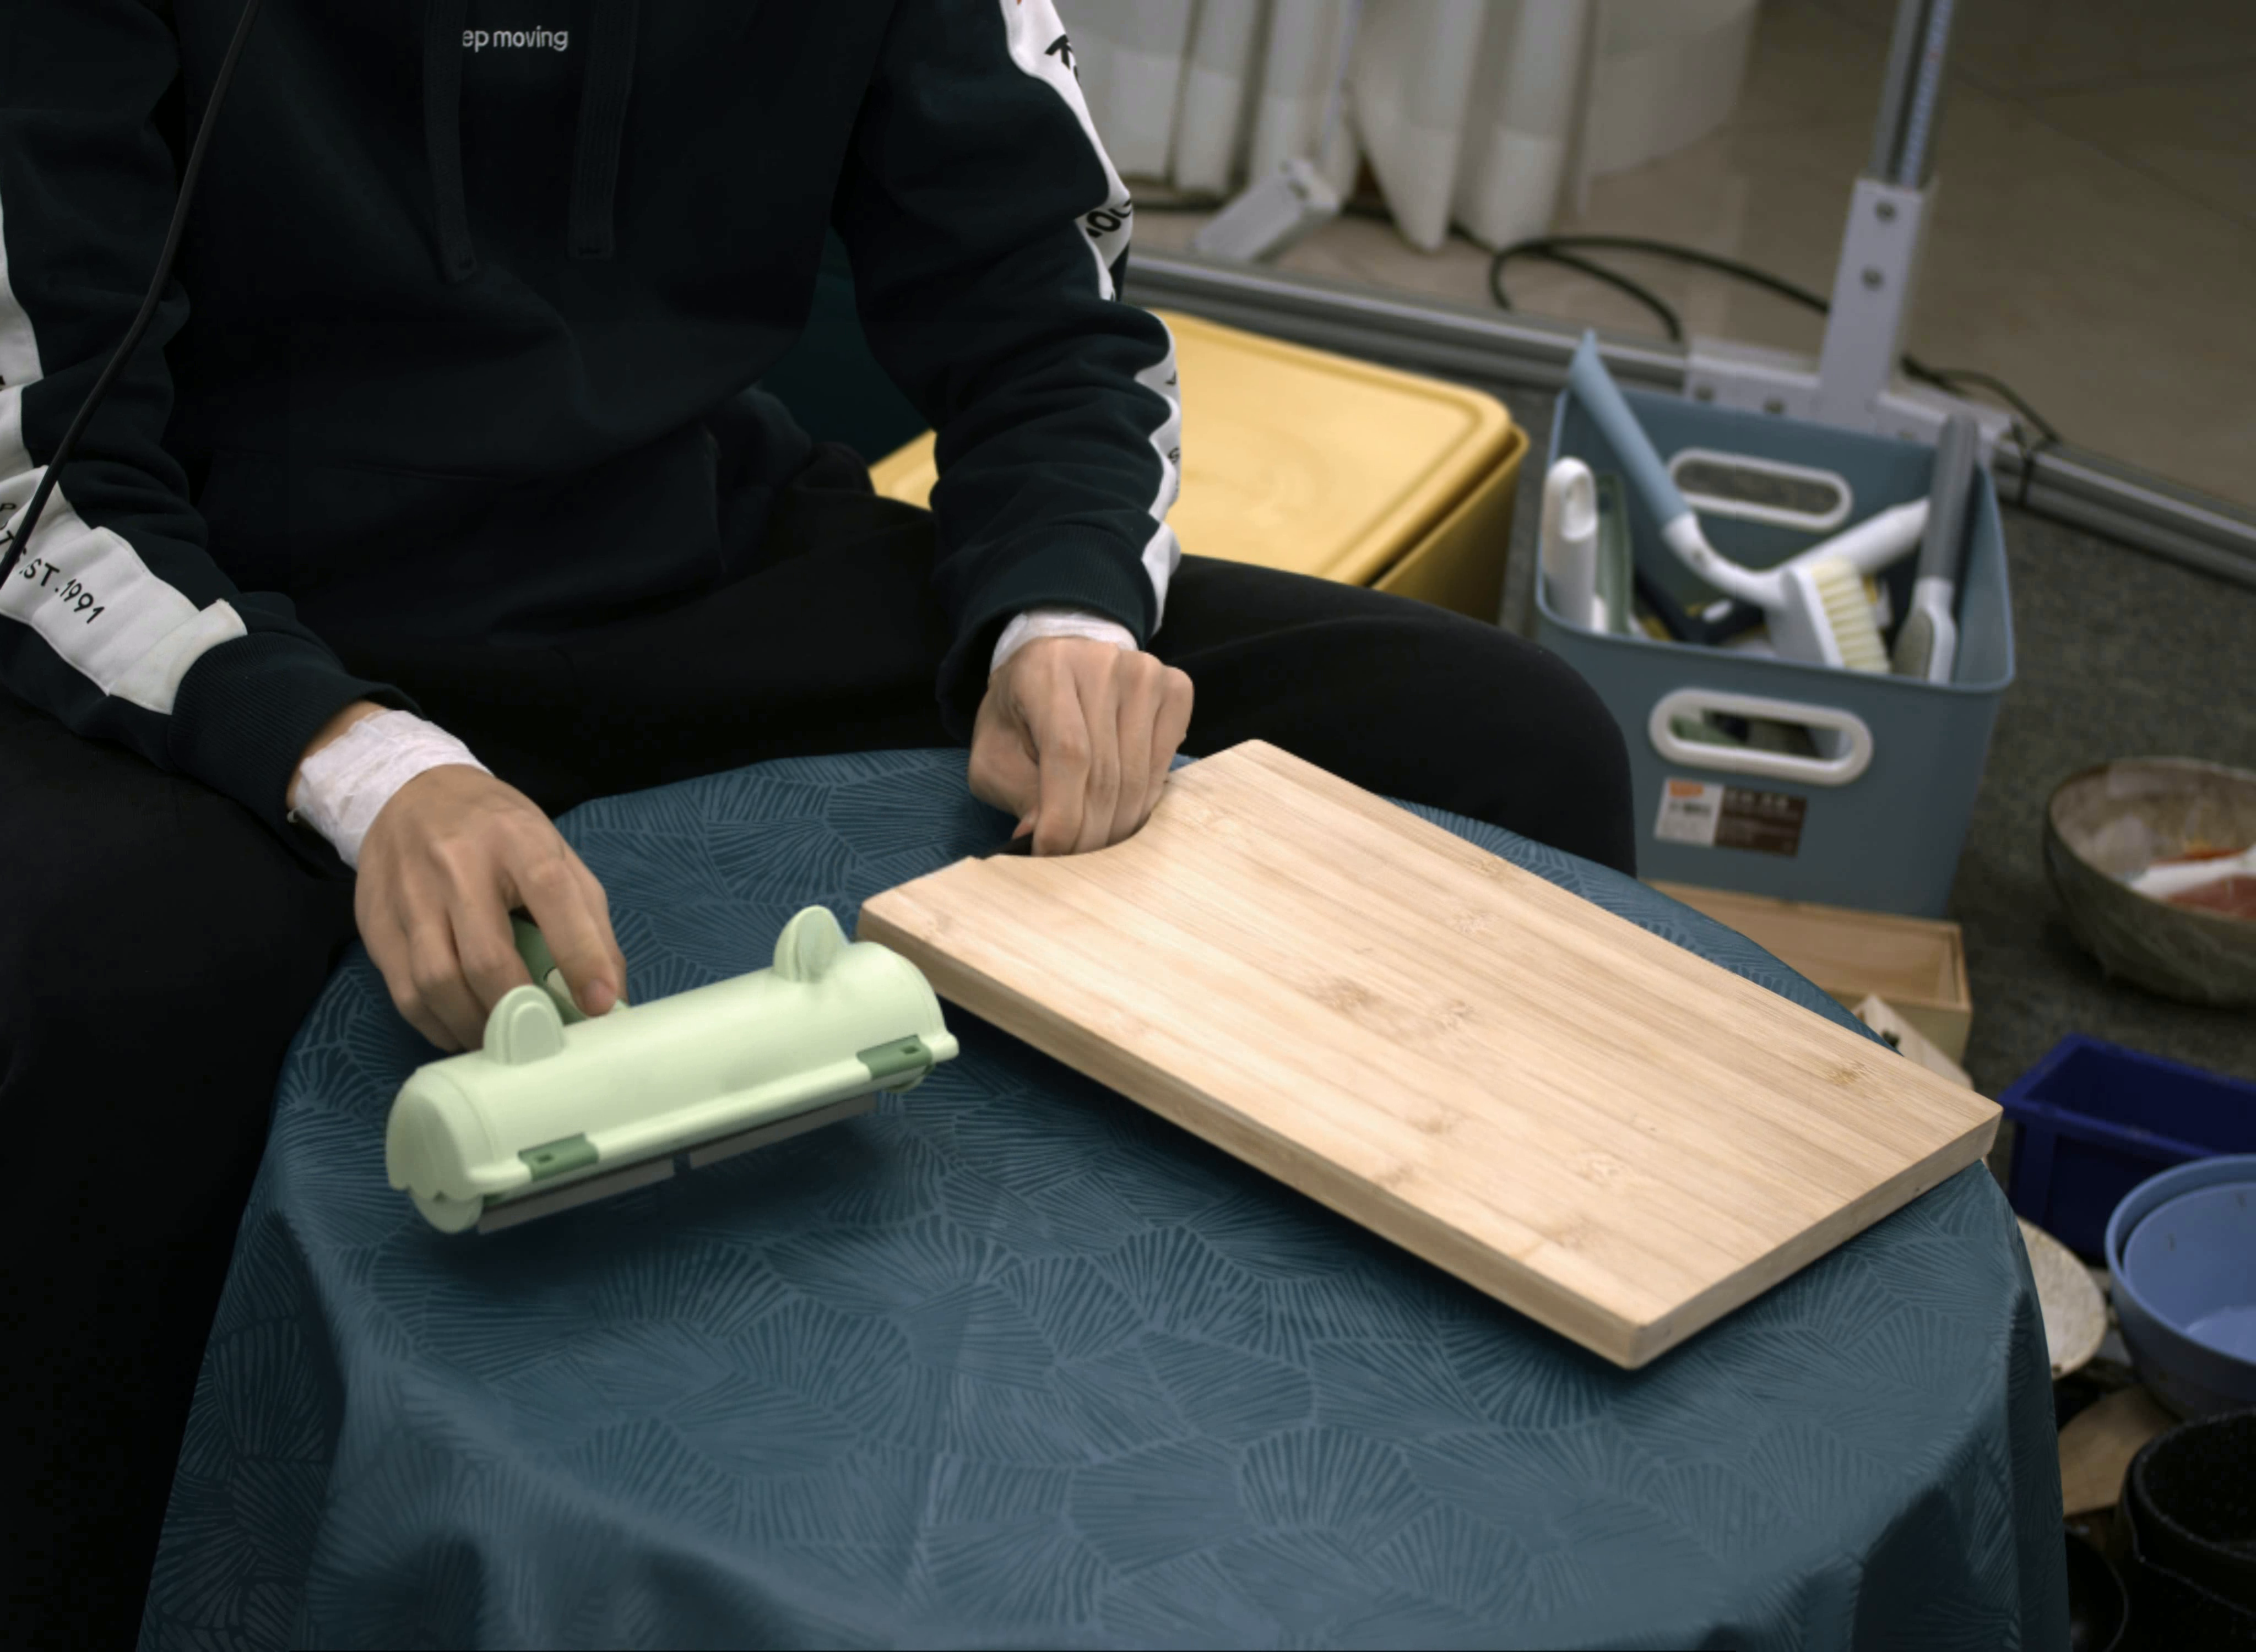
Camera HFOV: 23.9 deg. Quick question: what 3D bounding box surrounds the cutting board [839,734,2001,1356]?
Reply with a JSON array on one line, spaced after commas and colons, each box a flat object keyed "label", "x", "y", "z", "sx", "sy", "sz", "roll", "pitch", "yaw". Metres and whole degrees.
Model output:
[{"label": "cutting board", "x": 0.102, "y": 0.070, "z": 1.884, "sx": 0.351, "sy": 0.023, "sz": 0.249, "roll": 27, "pitch": 29, "yaw": 30}]

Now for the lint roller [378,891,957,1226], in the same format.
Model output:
[{"label": "lint roller", "x": -0.183, "y": 0.050, "z": 1.777, "sx": 0.197, "sy": 0.082, "sz": 0.185, "roll": -15, "pitch": 40, "yaw": -37}]
